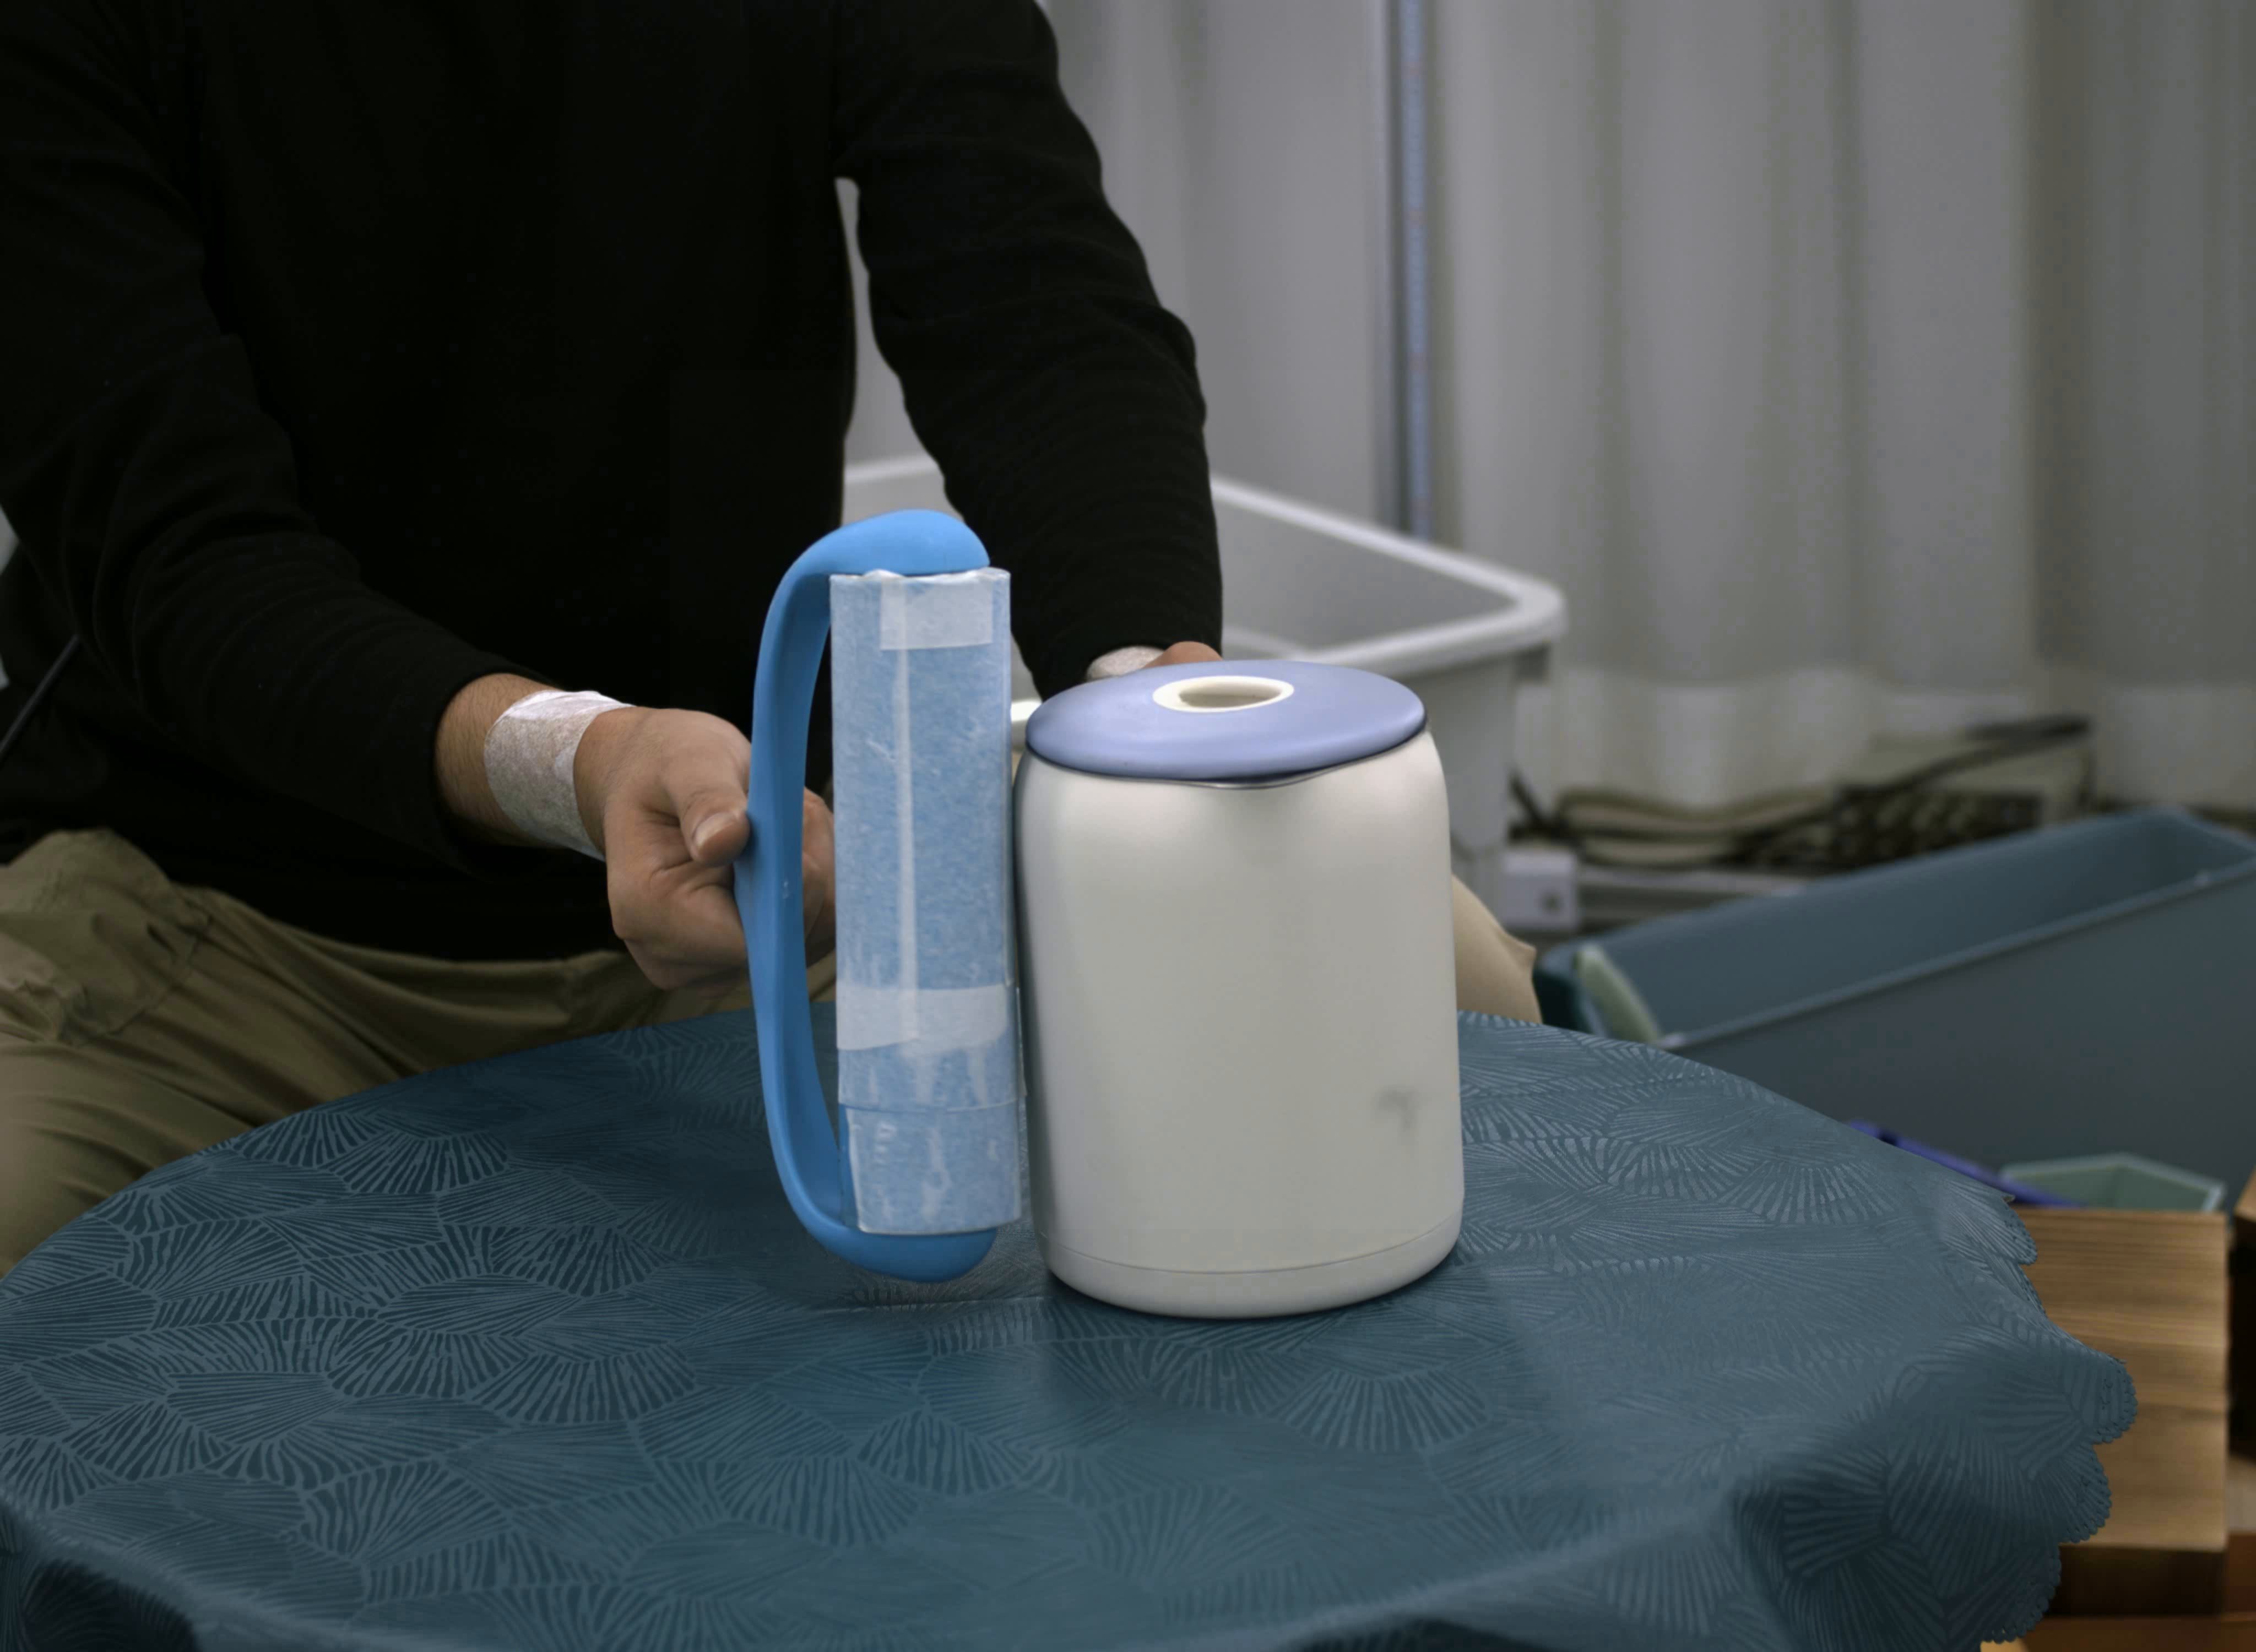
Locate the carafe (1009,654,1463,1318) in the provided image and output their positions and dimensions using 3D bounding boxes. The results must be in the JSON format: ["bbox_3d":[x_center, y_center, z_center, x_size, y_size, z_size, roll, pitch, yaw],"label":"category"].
[{"bbox_3d":[0.028,0.041,1.654,0.131,0.182,0.192,-5,12,-9],"label":"carafe"}]

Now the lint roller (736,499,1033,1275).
[{"bbox_3d":[-0.087,0.016,1.664,0.067,0.229,0.181,-5,4,-29],"label":"lint roller"}]
